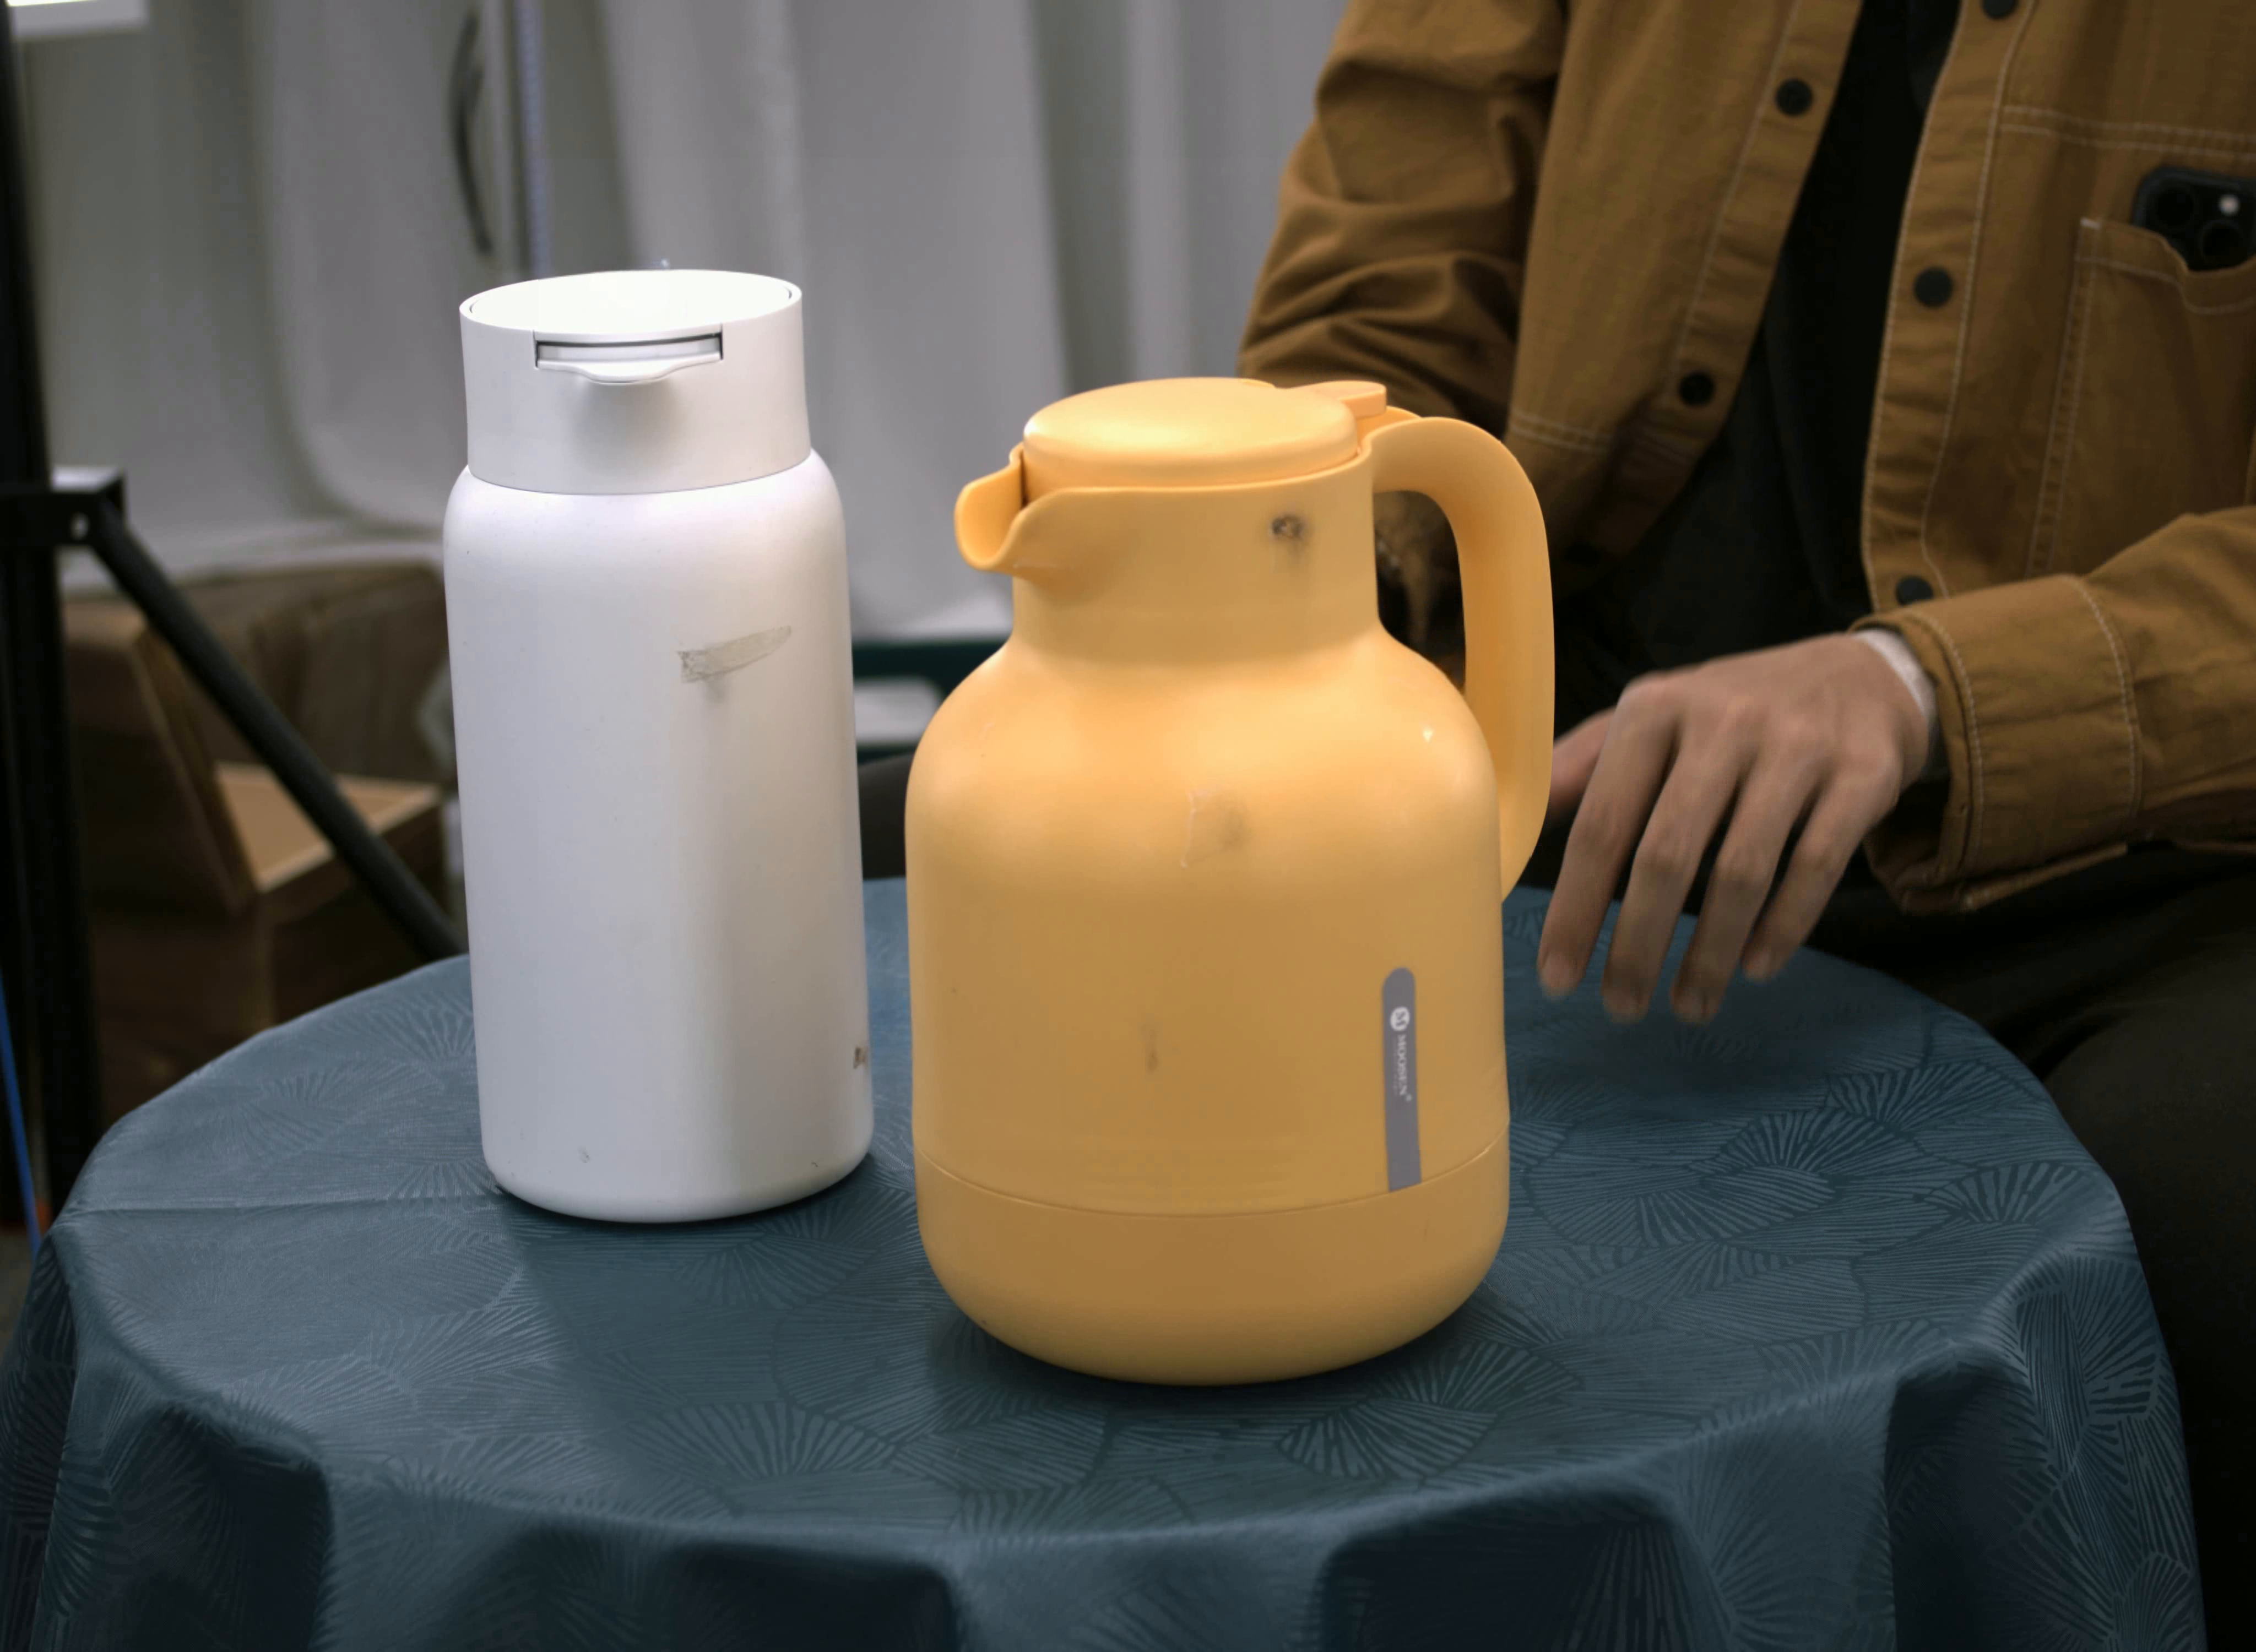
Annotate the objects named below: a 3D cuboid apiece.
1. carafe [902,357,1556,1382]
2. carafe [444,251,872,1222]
[{"bbox_3d":[0.036,0.004,1.433,0.198,0.260,0.167,-15,22,-34],"label":"carafe"},{"bbox_3d":[-0.140,-0.030,1.579,0.123,0.269,0.174,-5,15,-2],"label":"carafe"}]
